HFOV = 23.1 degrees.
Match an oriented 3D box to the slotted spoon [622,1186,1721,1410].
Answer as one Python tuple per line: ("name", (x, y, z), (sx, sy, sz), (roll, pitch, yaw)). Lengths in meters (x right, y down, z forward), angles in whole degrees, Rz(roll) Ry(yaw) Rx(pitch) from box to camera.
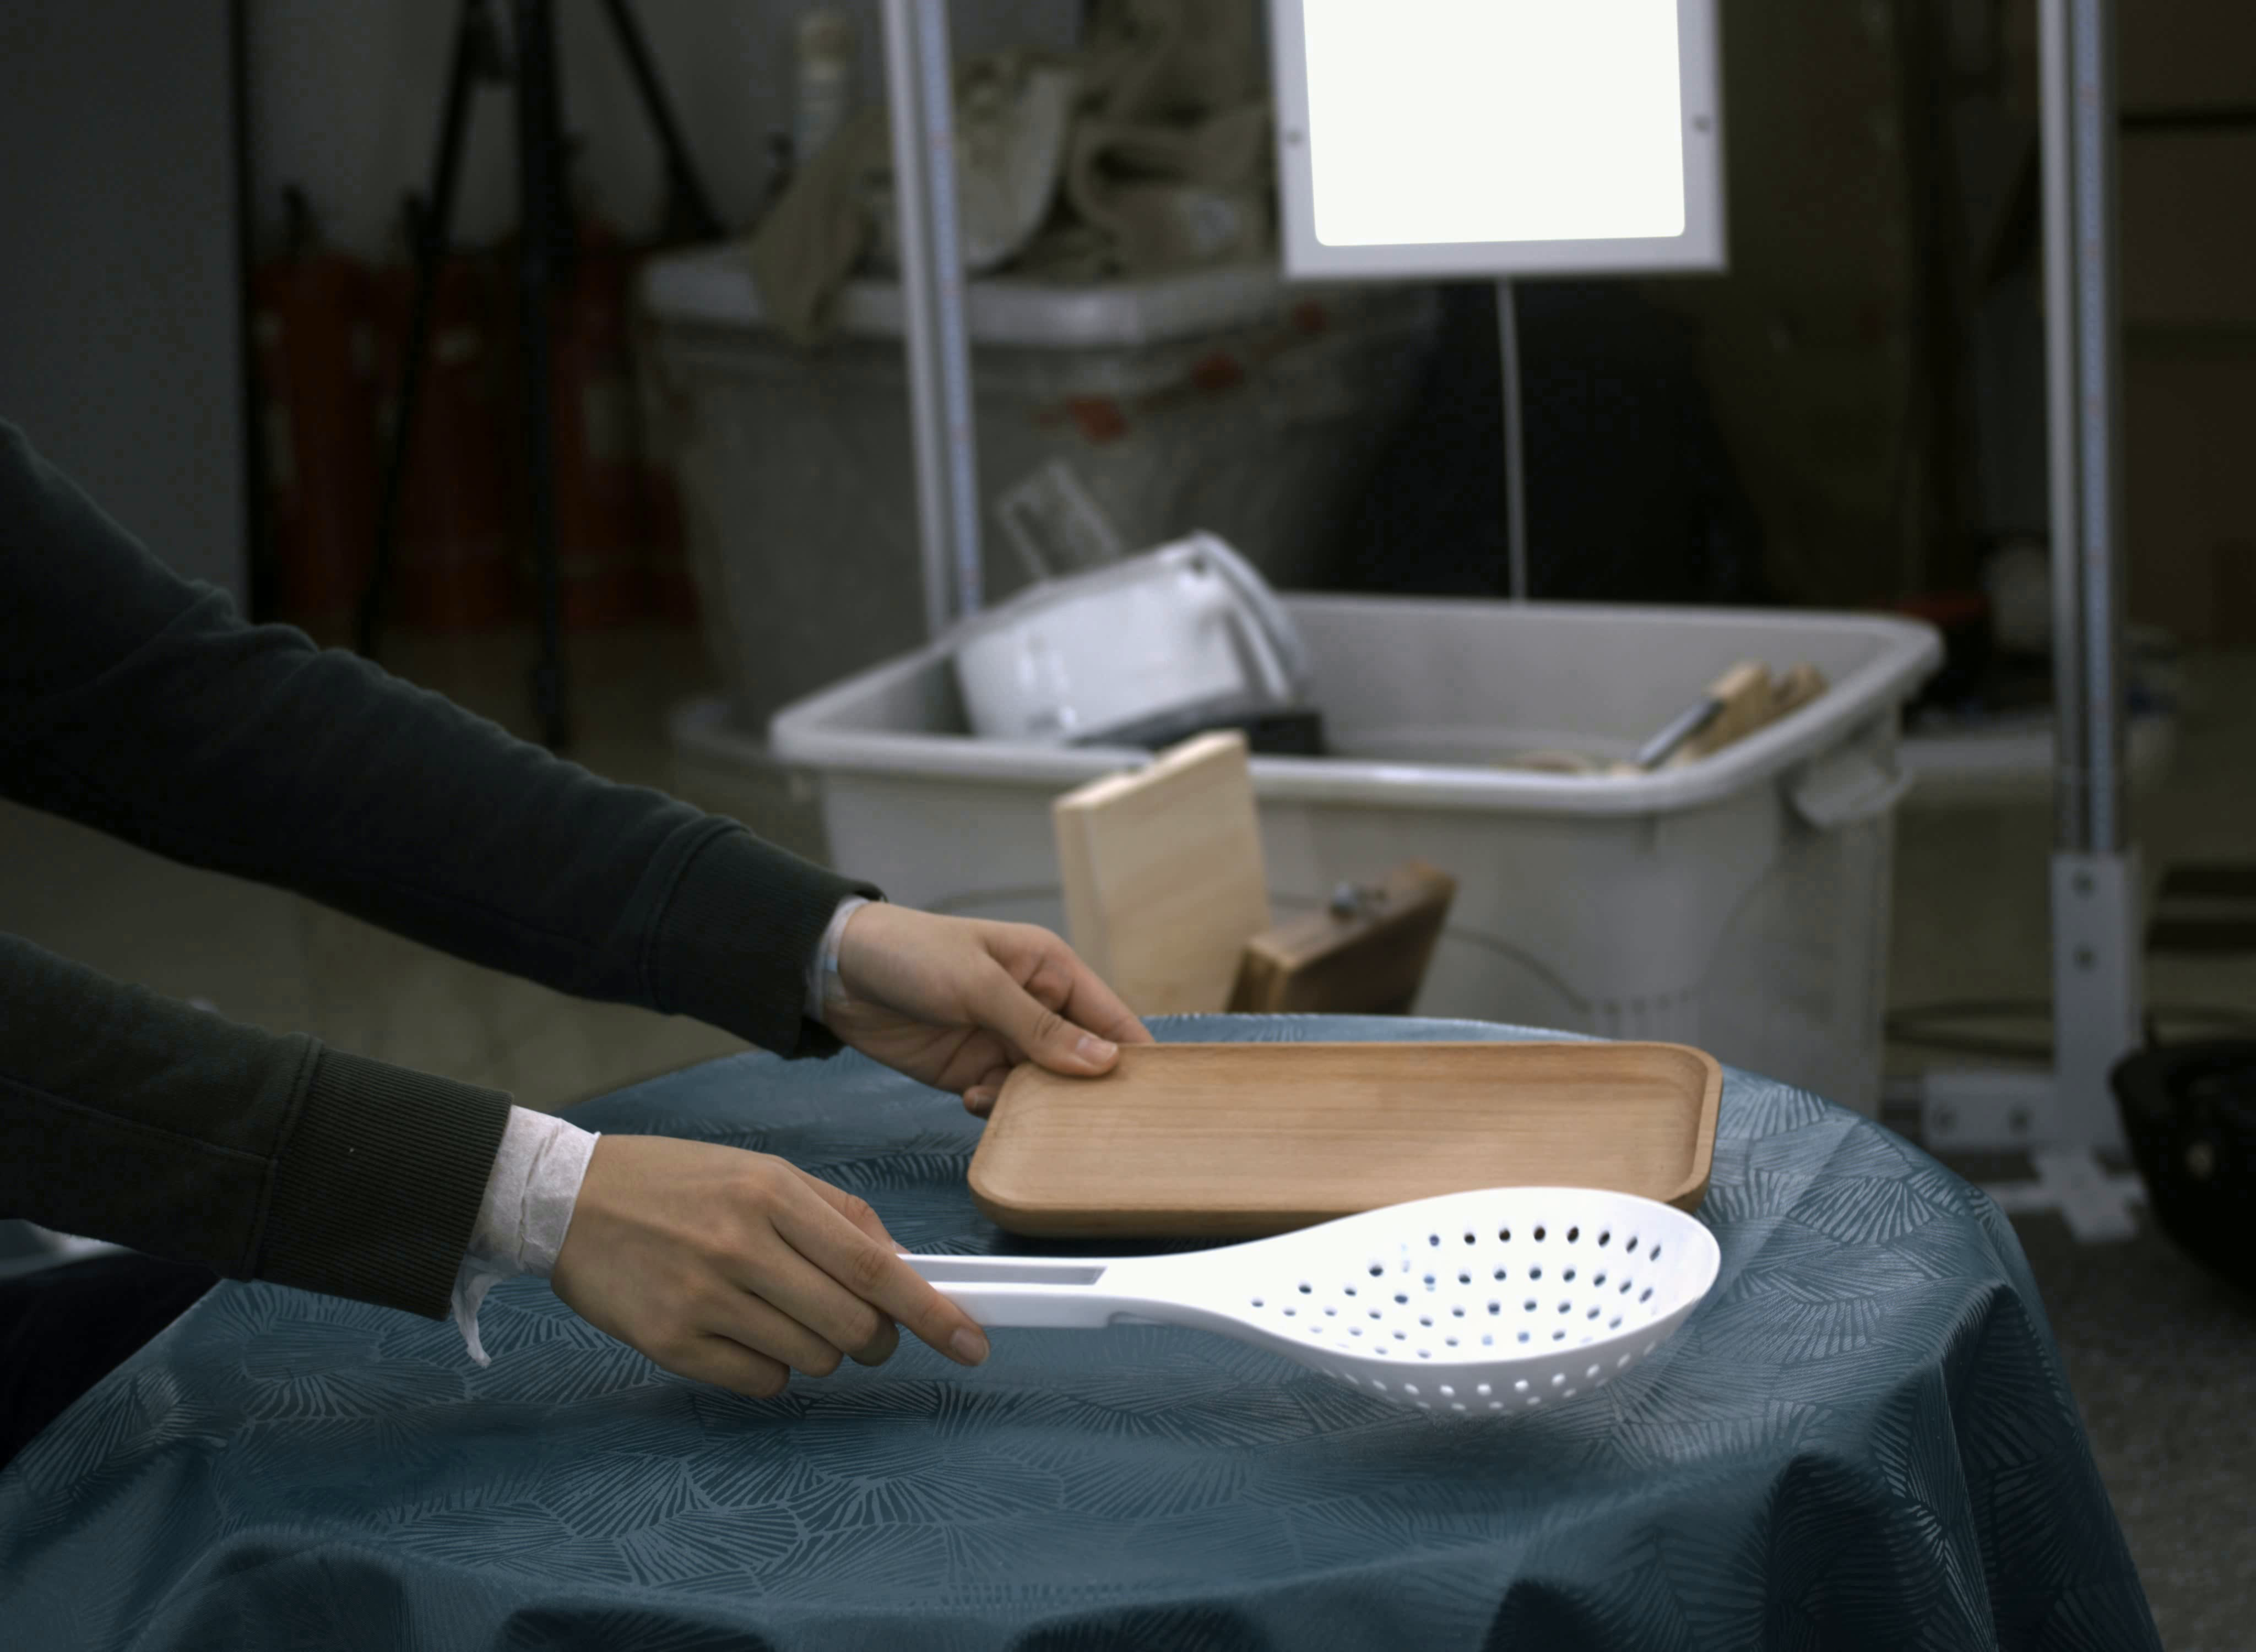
("slotted spoon", (0.008, 0.140, 1.681), (0.354, 0.046, 0.134), (3, 19, 20))

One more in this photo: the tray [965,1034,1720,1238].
("tray", (0.074, 0.105, 1.863), (0.253, 0.023, 0.129), (-2, 21, 13))
